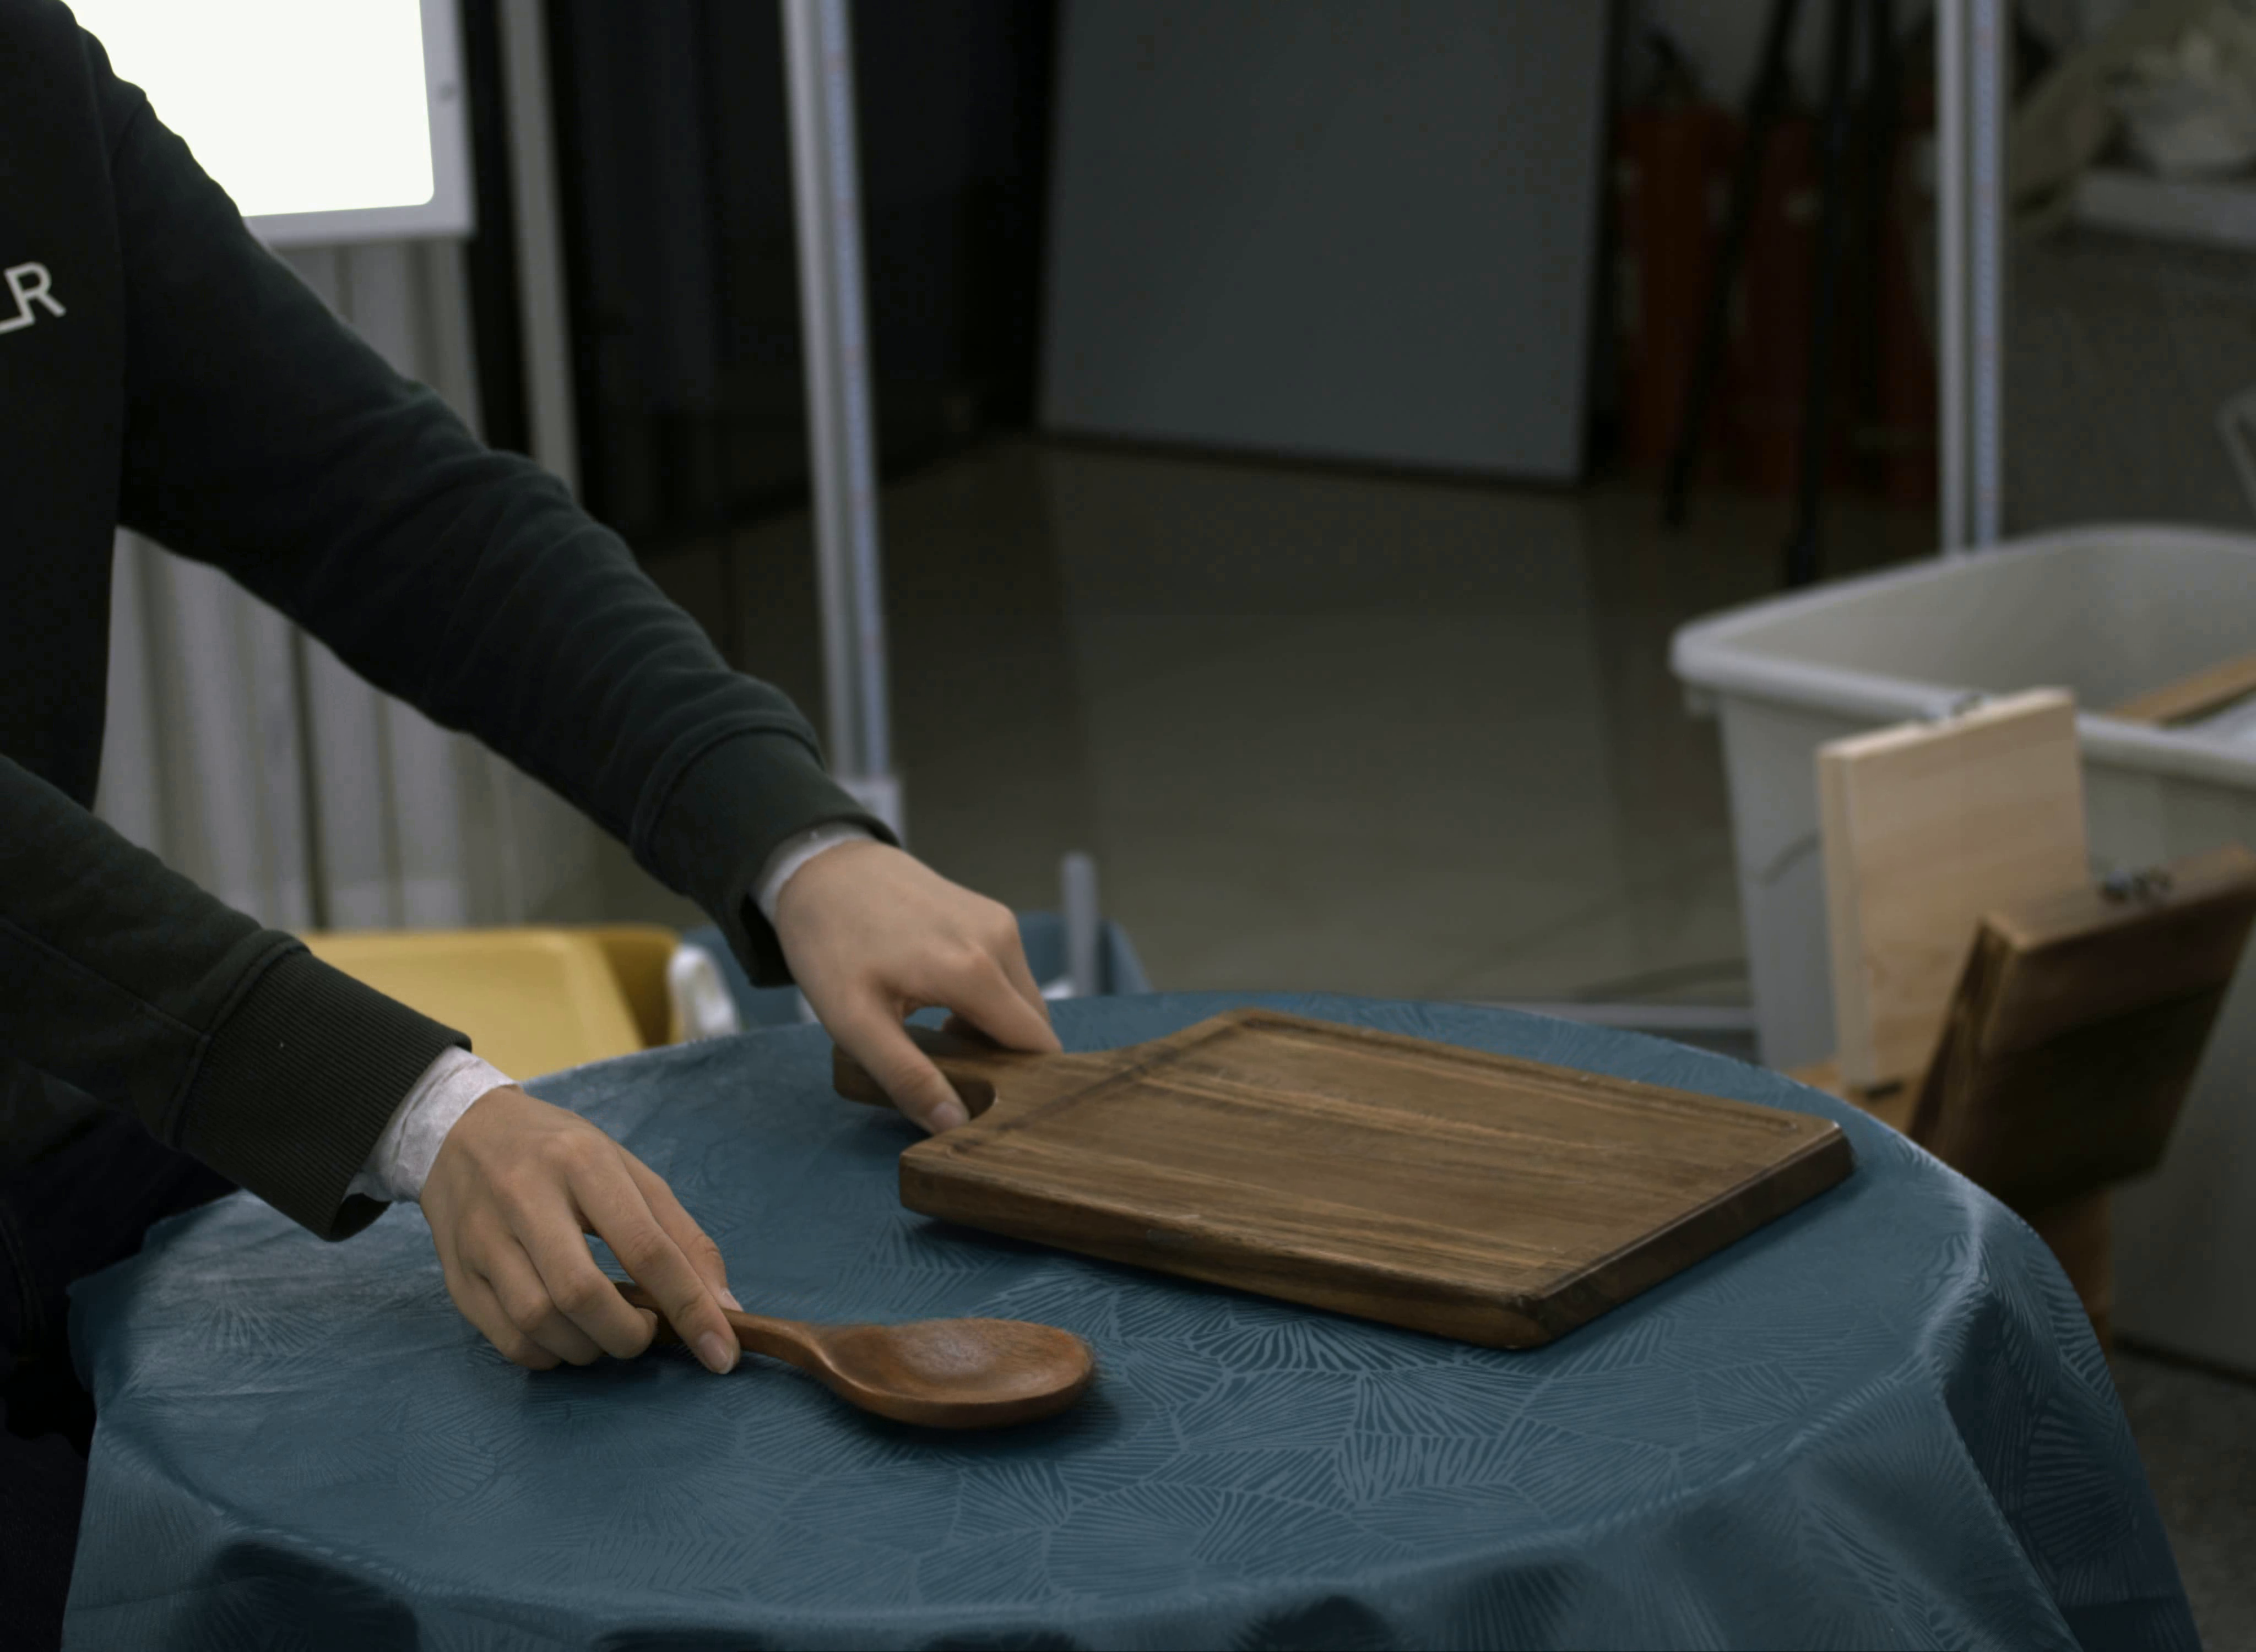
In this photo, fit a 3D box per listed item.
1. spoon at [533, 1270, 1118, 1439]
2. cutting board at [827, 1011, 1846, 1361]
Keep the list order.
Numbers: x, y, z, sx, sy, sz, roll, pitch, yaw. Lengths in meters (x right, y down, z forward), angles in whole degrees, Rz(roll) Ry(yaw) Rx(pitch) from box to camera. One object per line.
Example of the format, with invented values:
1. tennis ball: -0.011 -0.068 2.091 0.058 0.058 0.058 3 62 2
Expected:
1. spoon: -0.095 0.157 1.618 0.217 0.017 0.074 8 20 37
2. cutting board: 0.041 0.105 1.767 0.355 0.023 0.197 9 20 38
